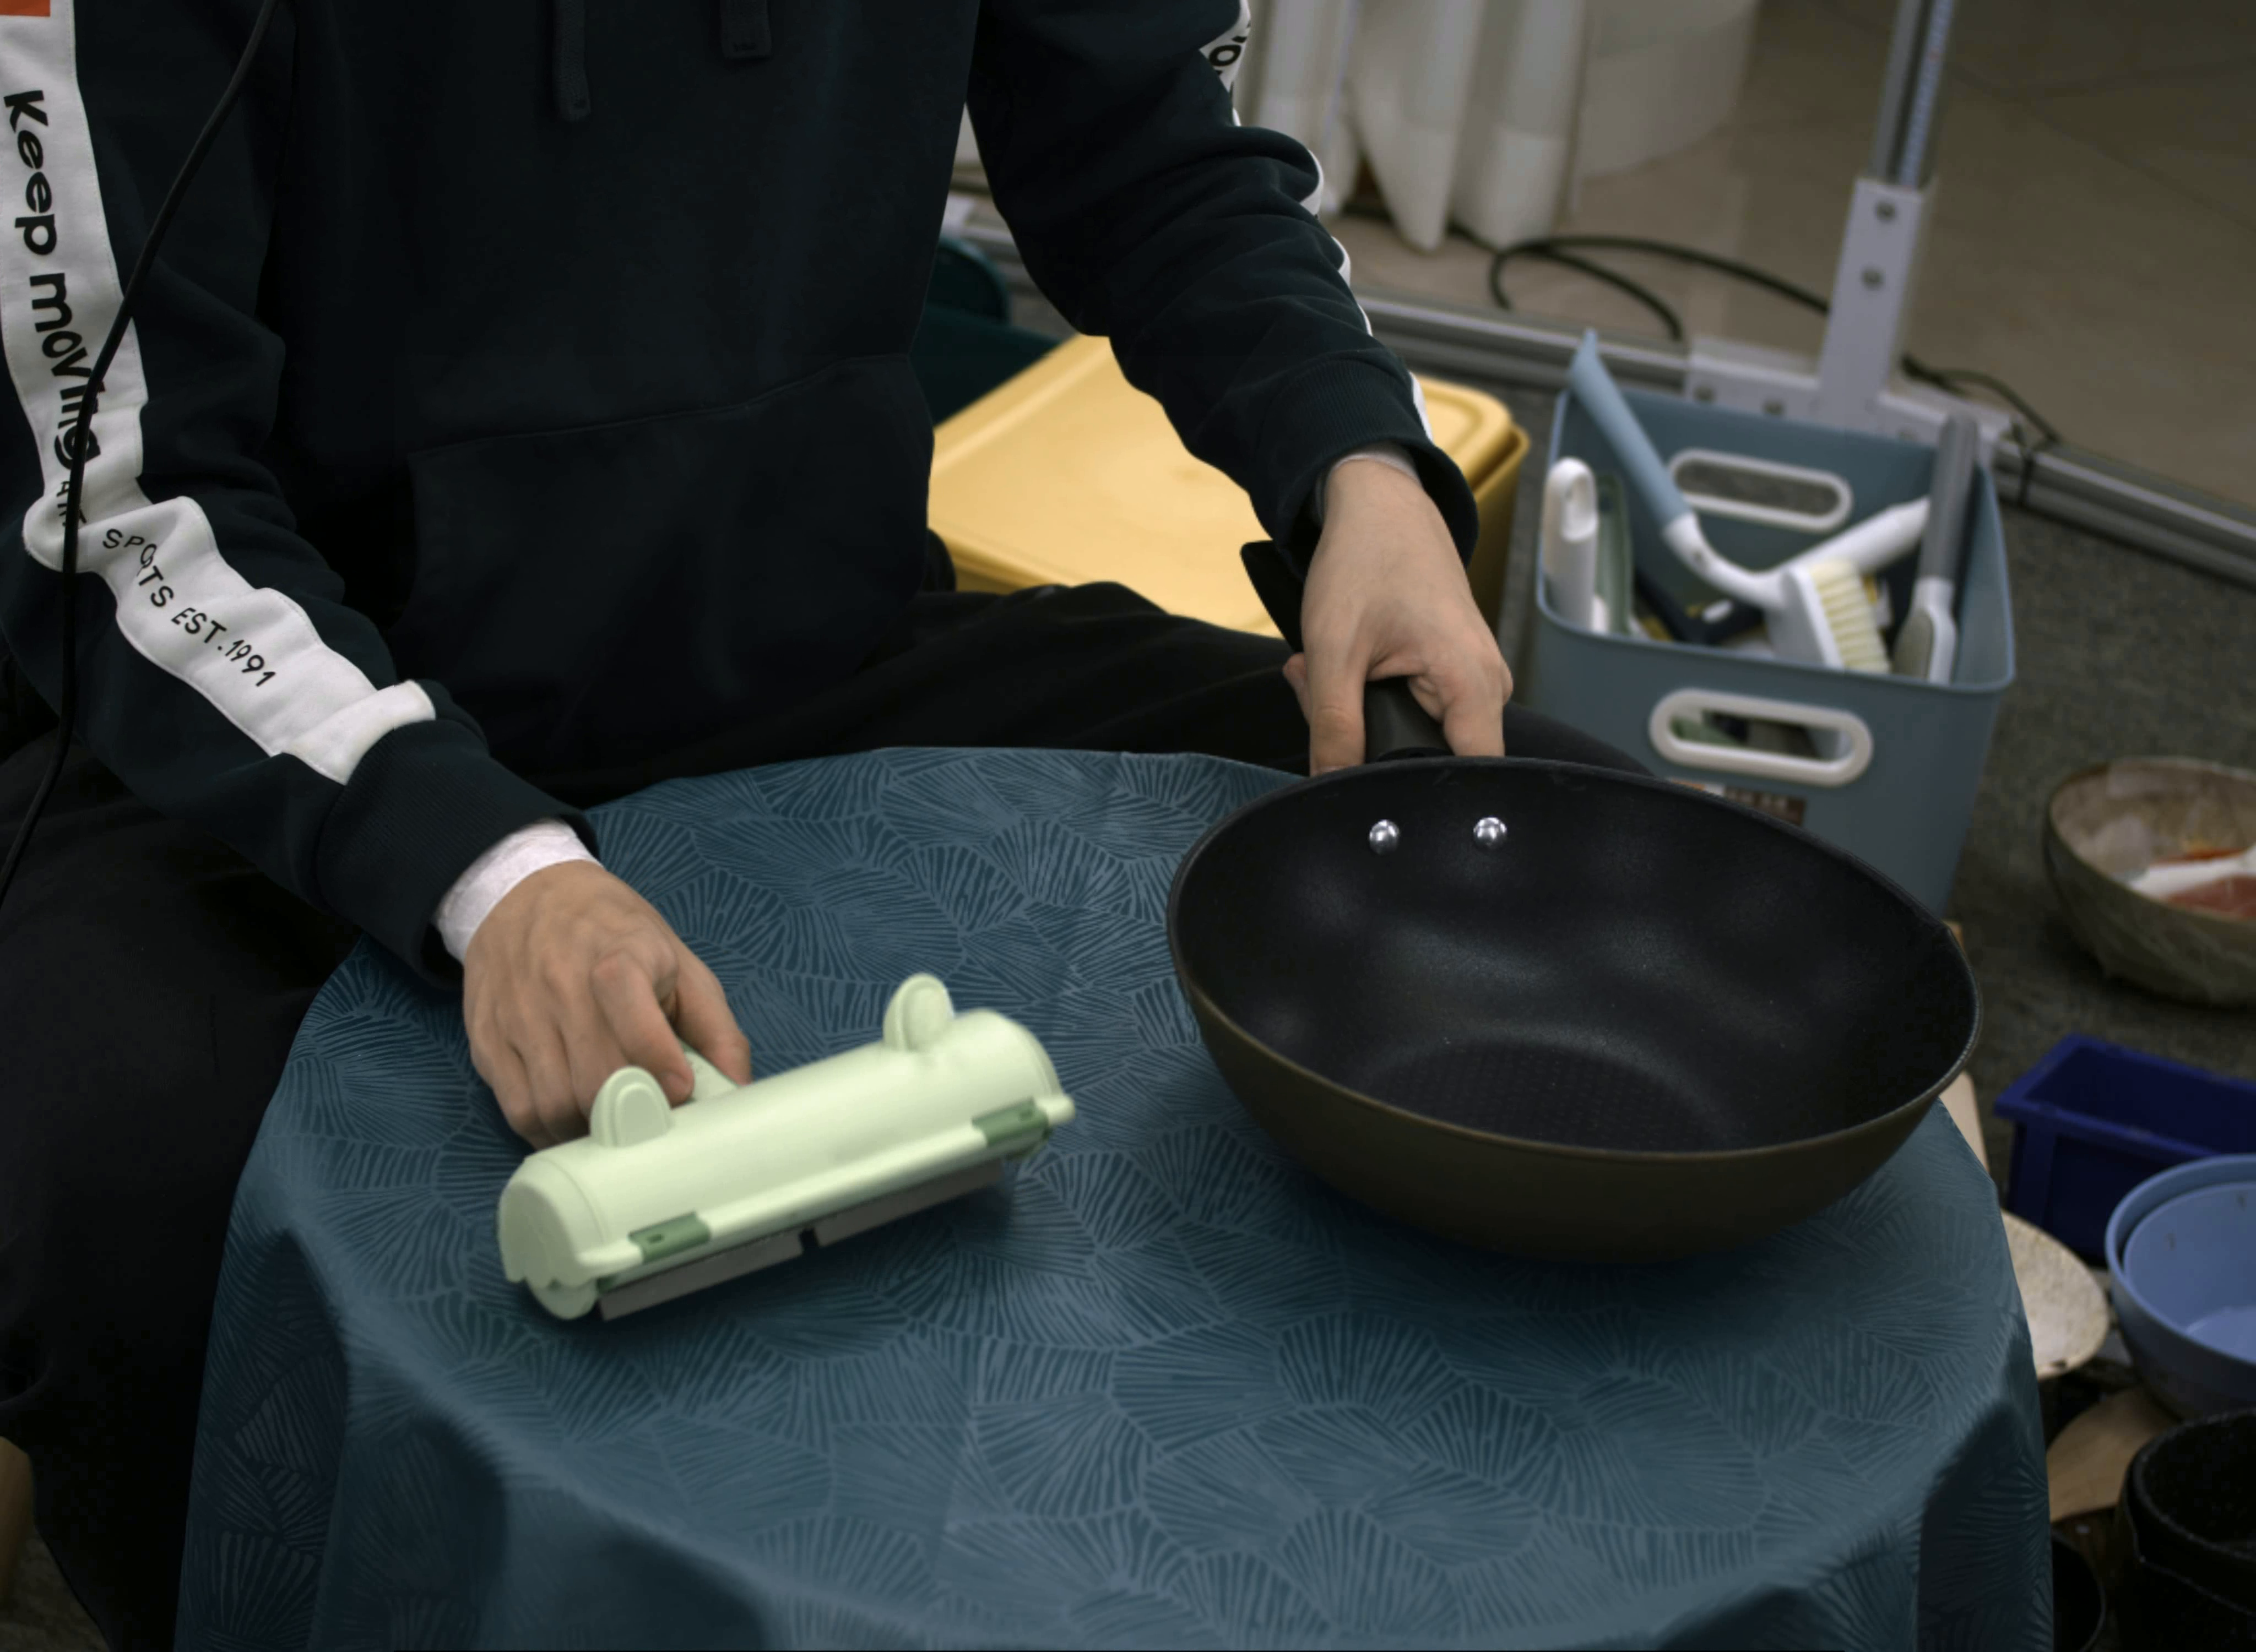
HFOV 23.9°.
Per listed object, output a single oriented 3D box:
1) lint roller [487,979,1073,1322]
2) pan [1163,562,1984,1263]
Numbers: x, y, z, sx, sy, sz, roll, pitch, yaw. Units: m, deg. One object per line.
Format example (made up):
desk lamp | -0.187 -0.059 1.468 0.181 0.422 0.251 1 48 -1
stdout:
lint roller | -0.145 0.079 1.762 0.197 0.082 0.185 -16 37 -34
pan | 0.119 0.033 1.911 0.286 0.086 0.467 -3 28 -19
